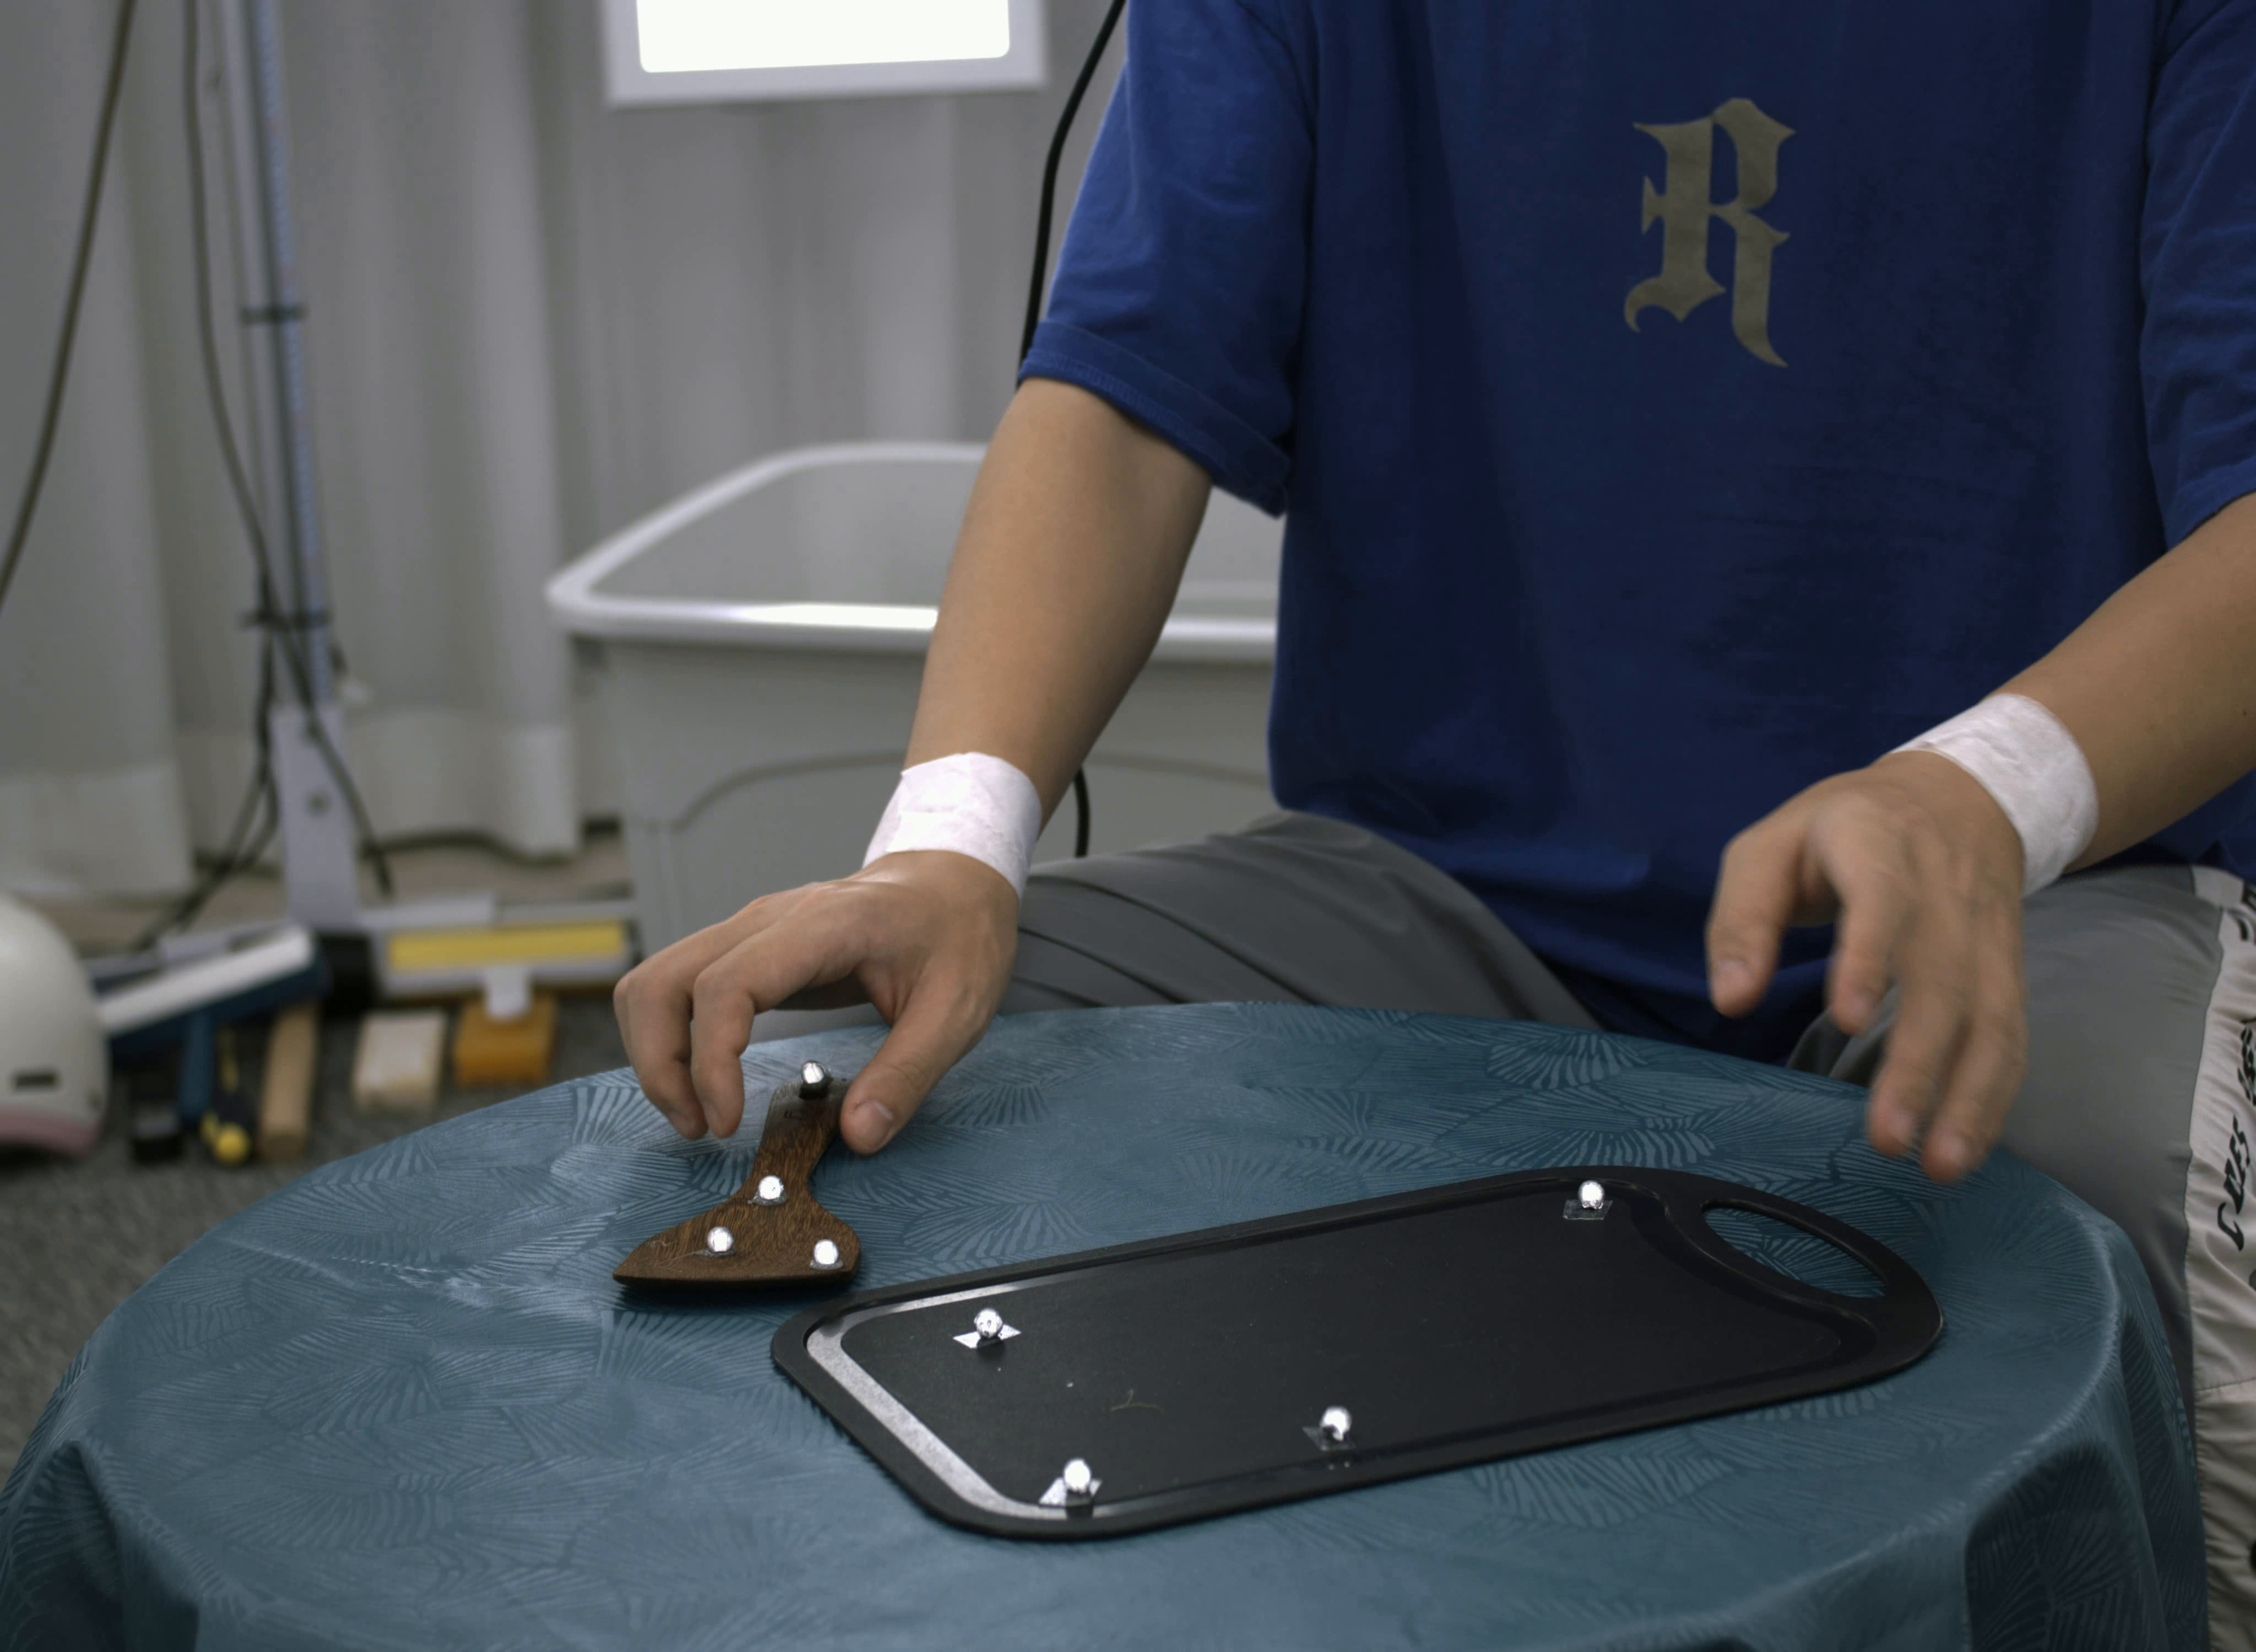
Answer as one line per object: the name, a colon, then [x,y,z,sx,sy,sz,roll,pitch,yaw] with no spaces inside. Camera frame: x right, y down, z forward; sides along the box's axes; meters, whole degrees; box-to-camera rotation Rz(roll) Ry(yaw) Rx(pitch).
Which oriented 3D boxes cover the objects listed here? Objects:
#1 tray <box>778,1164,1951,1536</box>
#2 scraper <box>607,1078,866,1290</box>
tray: [0.072,0.144,1.573,0.324,0.010,0.213,-8,16,-20]
scraper: [-0.110,0.112,1.722,0.075,0.011,0.212,-1,14,5]
